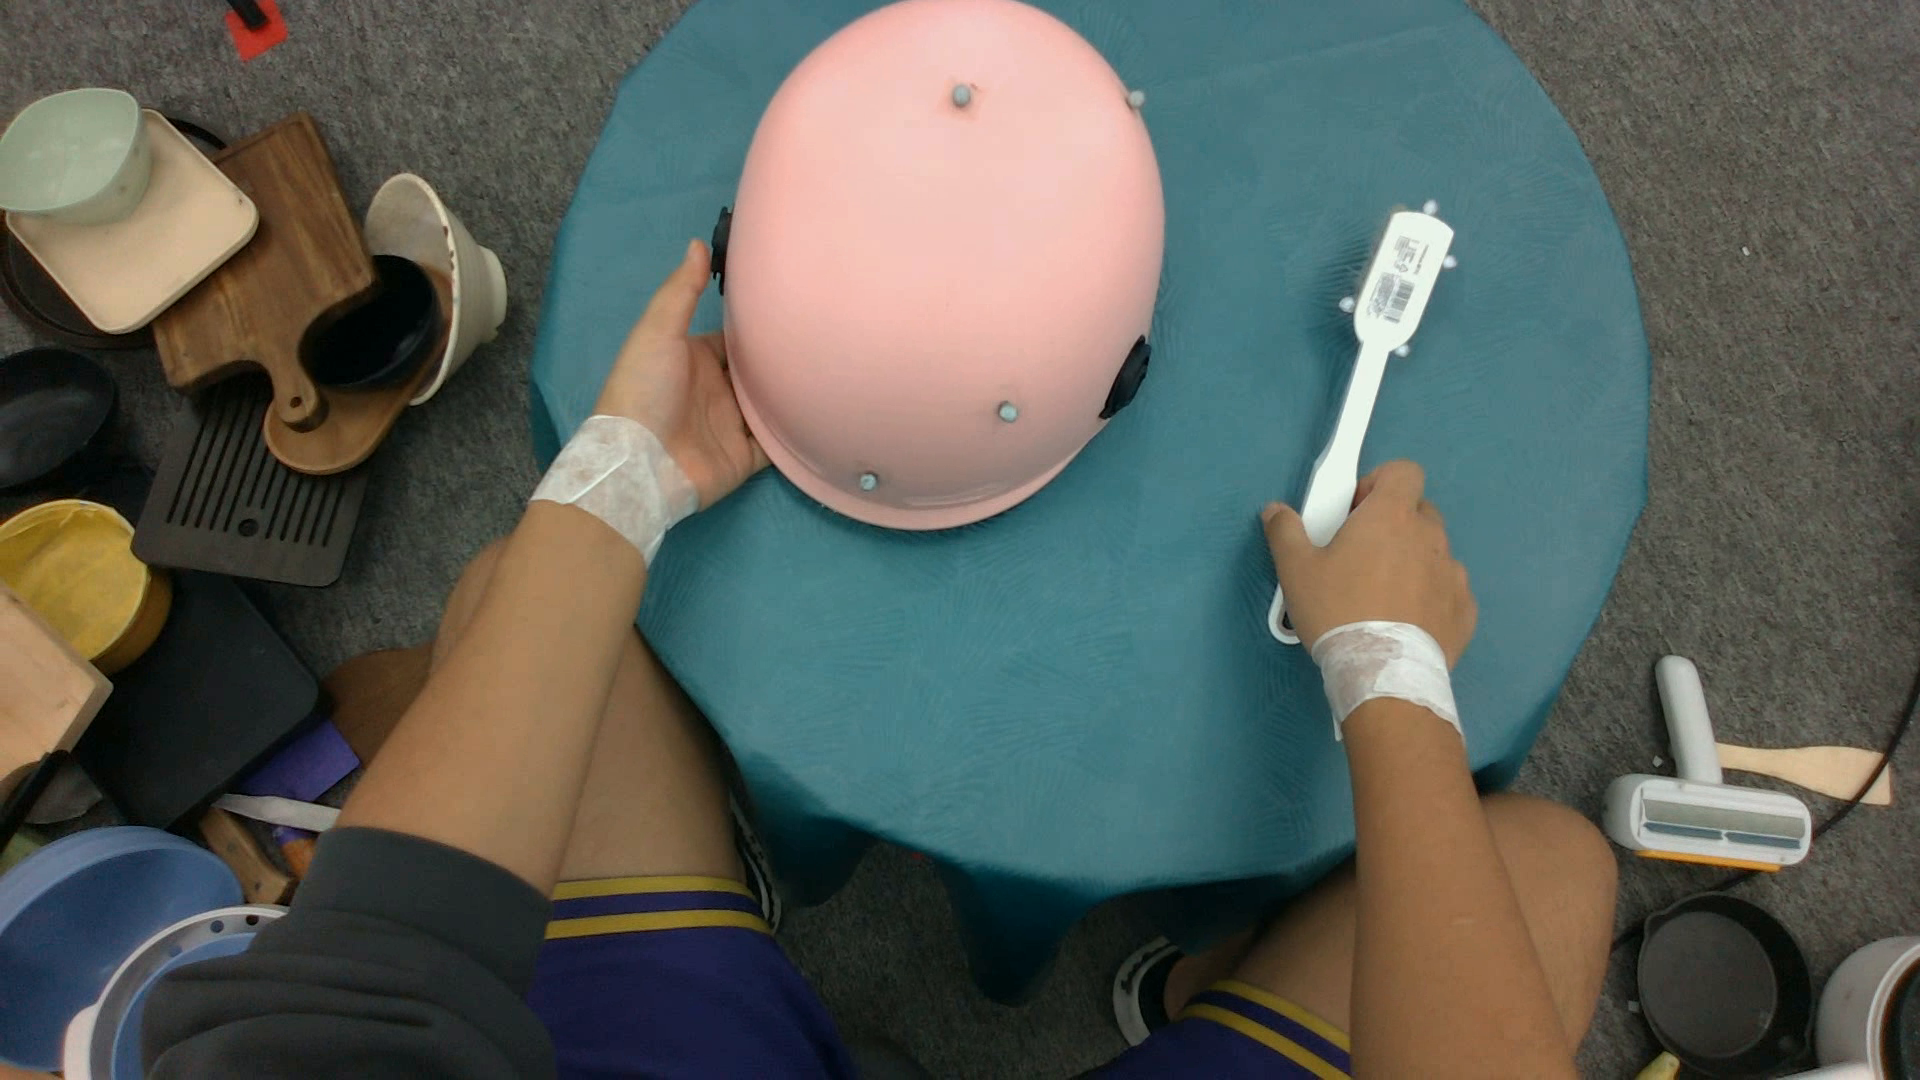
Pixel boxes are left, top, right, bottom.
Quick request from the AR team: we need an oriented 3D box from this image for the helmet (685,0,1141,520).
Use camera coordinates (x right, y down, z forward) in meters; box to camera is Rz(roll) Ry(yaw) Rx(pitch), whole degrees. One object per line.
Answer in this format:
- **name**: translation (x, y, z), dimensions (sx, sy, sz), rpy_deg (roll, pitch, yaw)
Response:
- **helmet**: translation (-0.018, -0.152, 0.668), dimensions (0.234, 0.158, 0.266), rpy_deg (17, 77, -2)

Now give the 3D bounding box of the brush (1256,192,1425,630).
- **brush**: translation (0.197, -0.070, 0.733), dimensions (0.034, 0.050, 0.243), rpy_deg (16, 88, 2)
